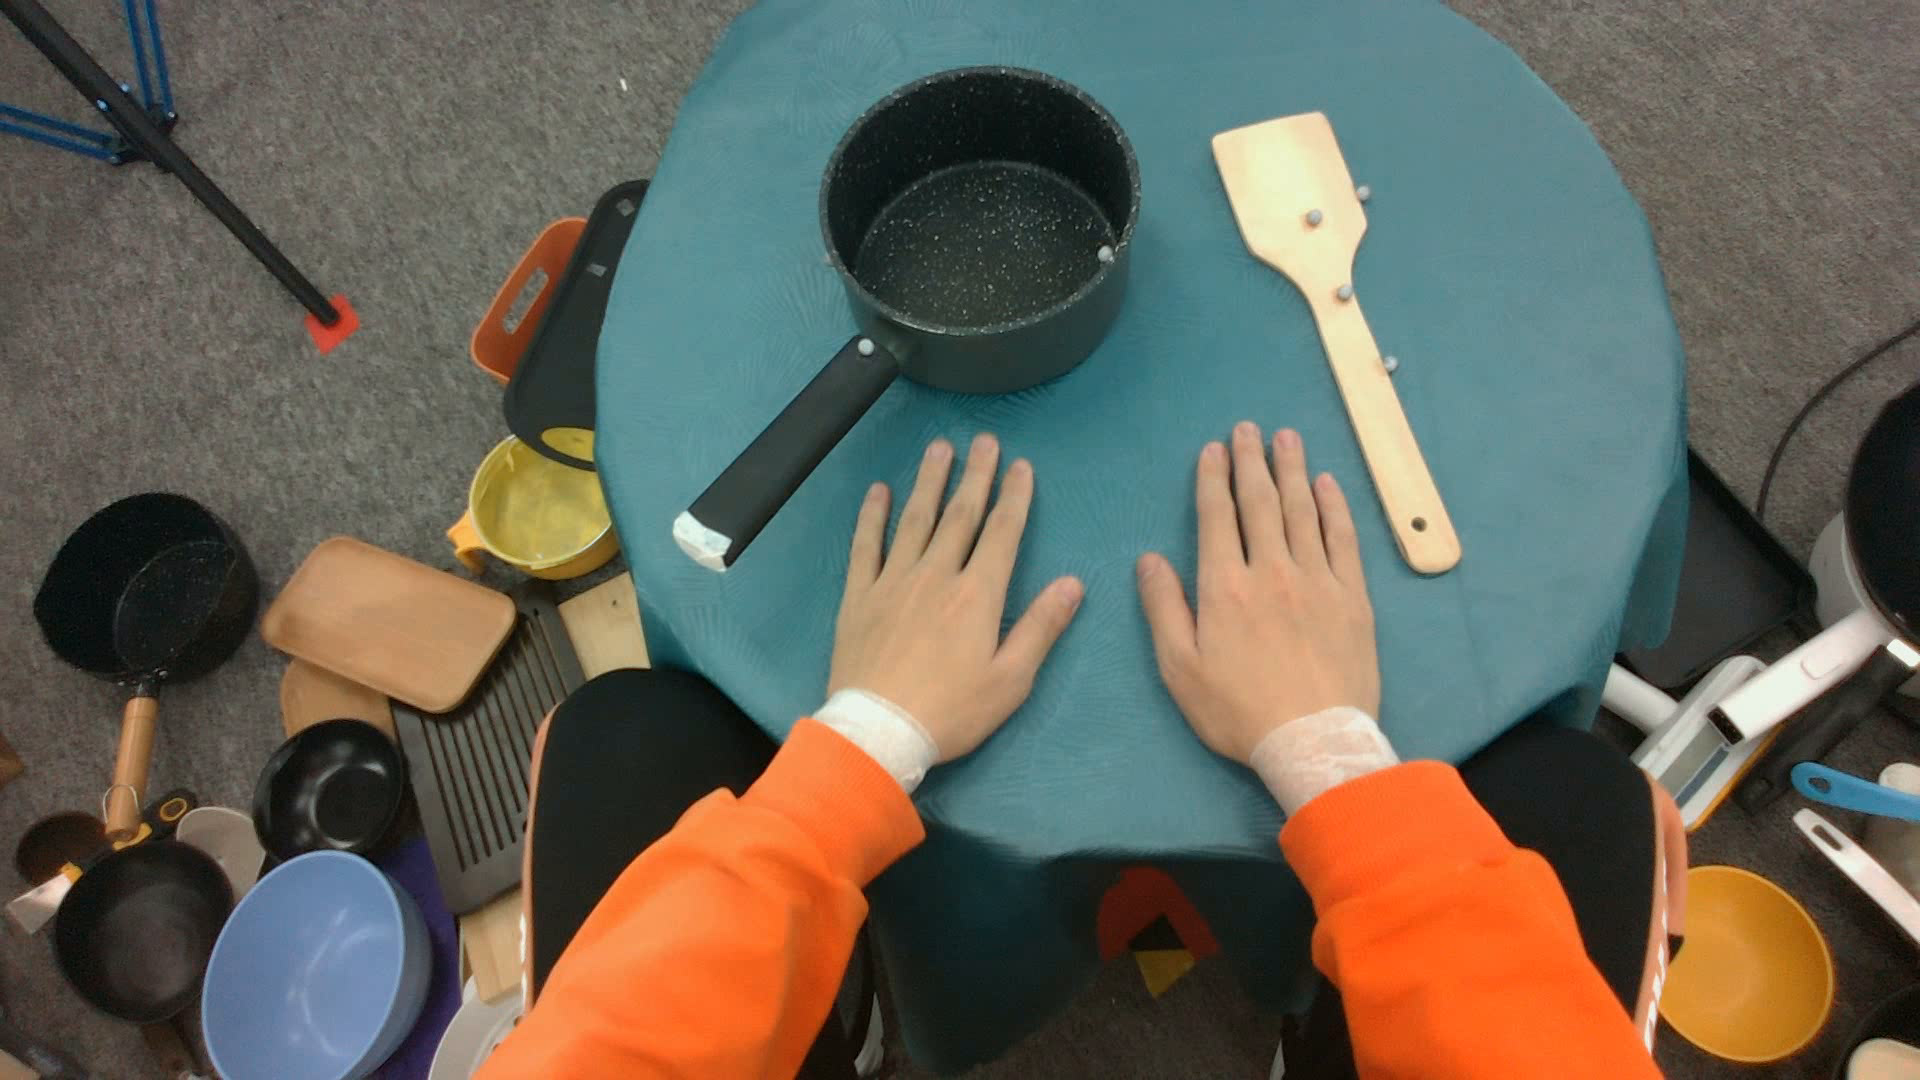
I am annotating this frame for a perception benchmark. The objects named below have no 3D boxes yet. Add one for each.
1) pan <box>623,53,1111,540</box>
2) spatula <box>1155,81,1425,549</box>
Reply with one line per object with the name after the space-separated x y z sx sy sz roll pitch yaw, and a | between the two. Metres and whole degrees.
-0.050 -0.117 0.733 0.172 0.086 0.330 32 71 17 | pan
0.186 -0.127 0.751 0.072 0.010 0.294 -19 68 4 | spatula
